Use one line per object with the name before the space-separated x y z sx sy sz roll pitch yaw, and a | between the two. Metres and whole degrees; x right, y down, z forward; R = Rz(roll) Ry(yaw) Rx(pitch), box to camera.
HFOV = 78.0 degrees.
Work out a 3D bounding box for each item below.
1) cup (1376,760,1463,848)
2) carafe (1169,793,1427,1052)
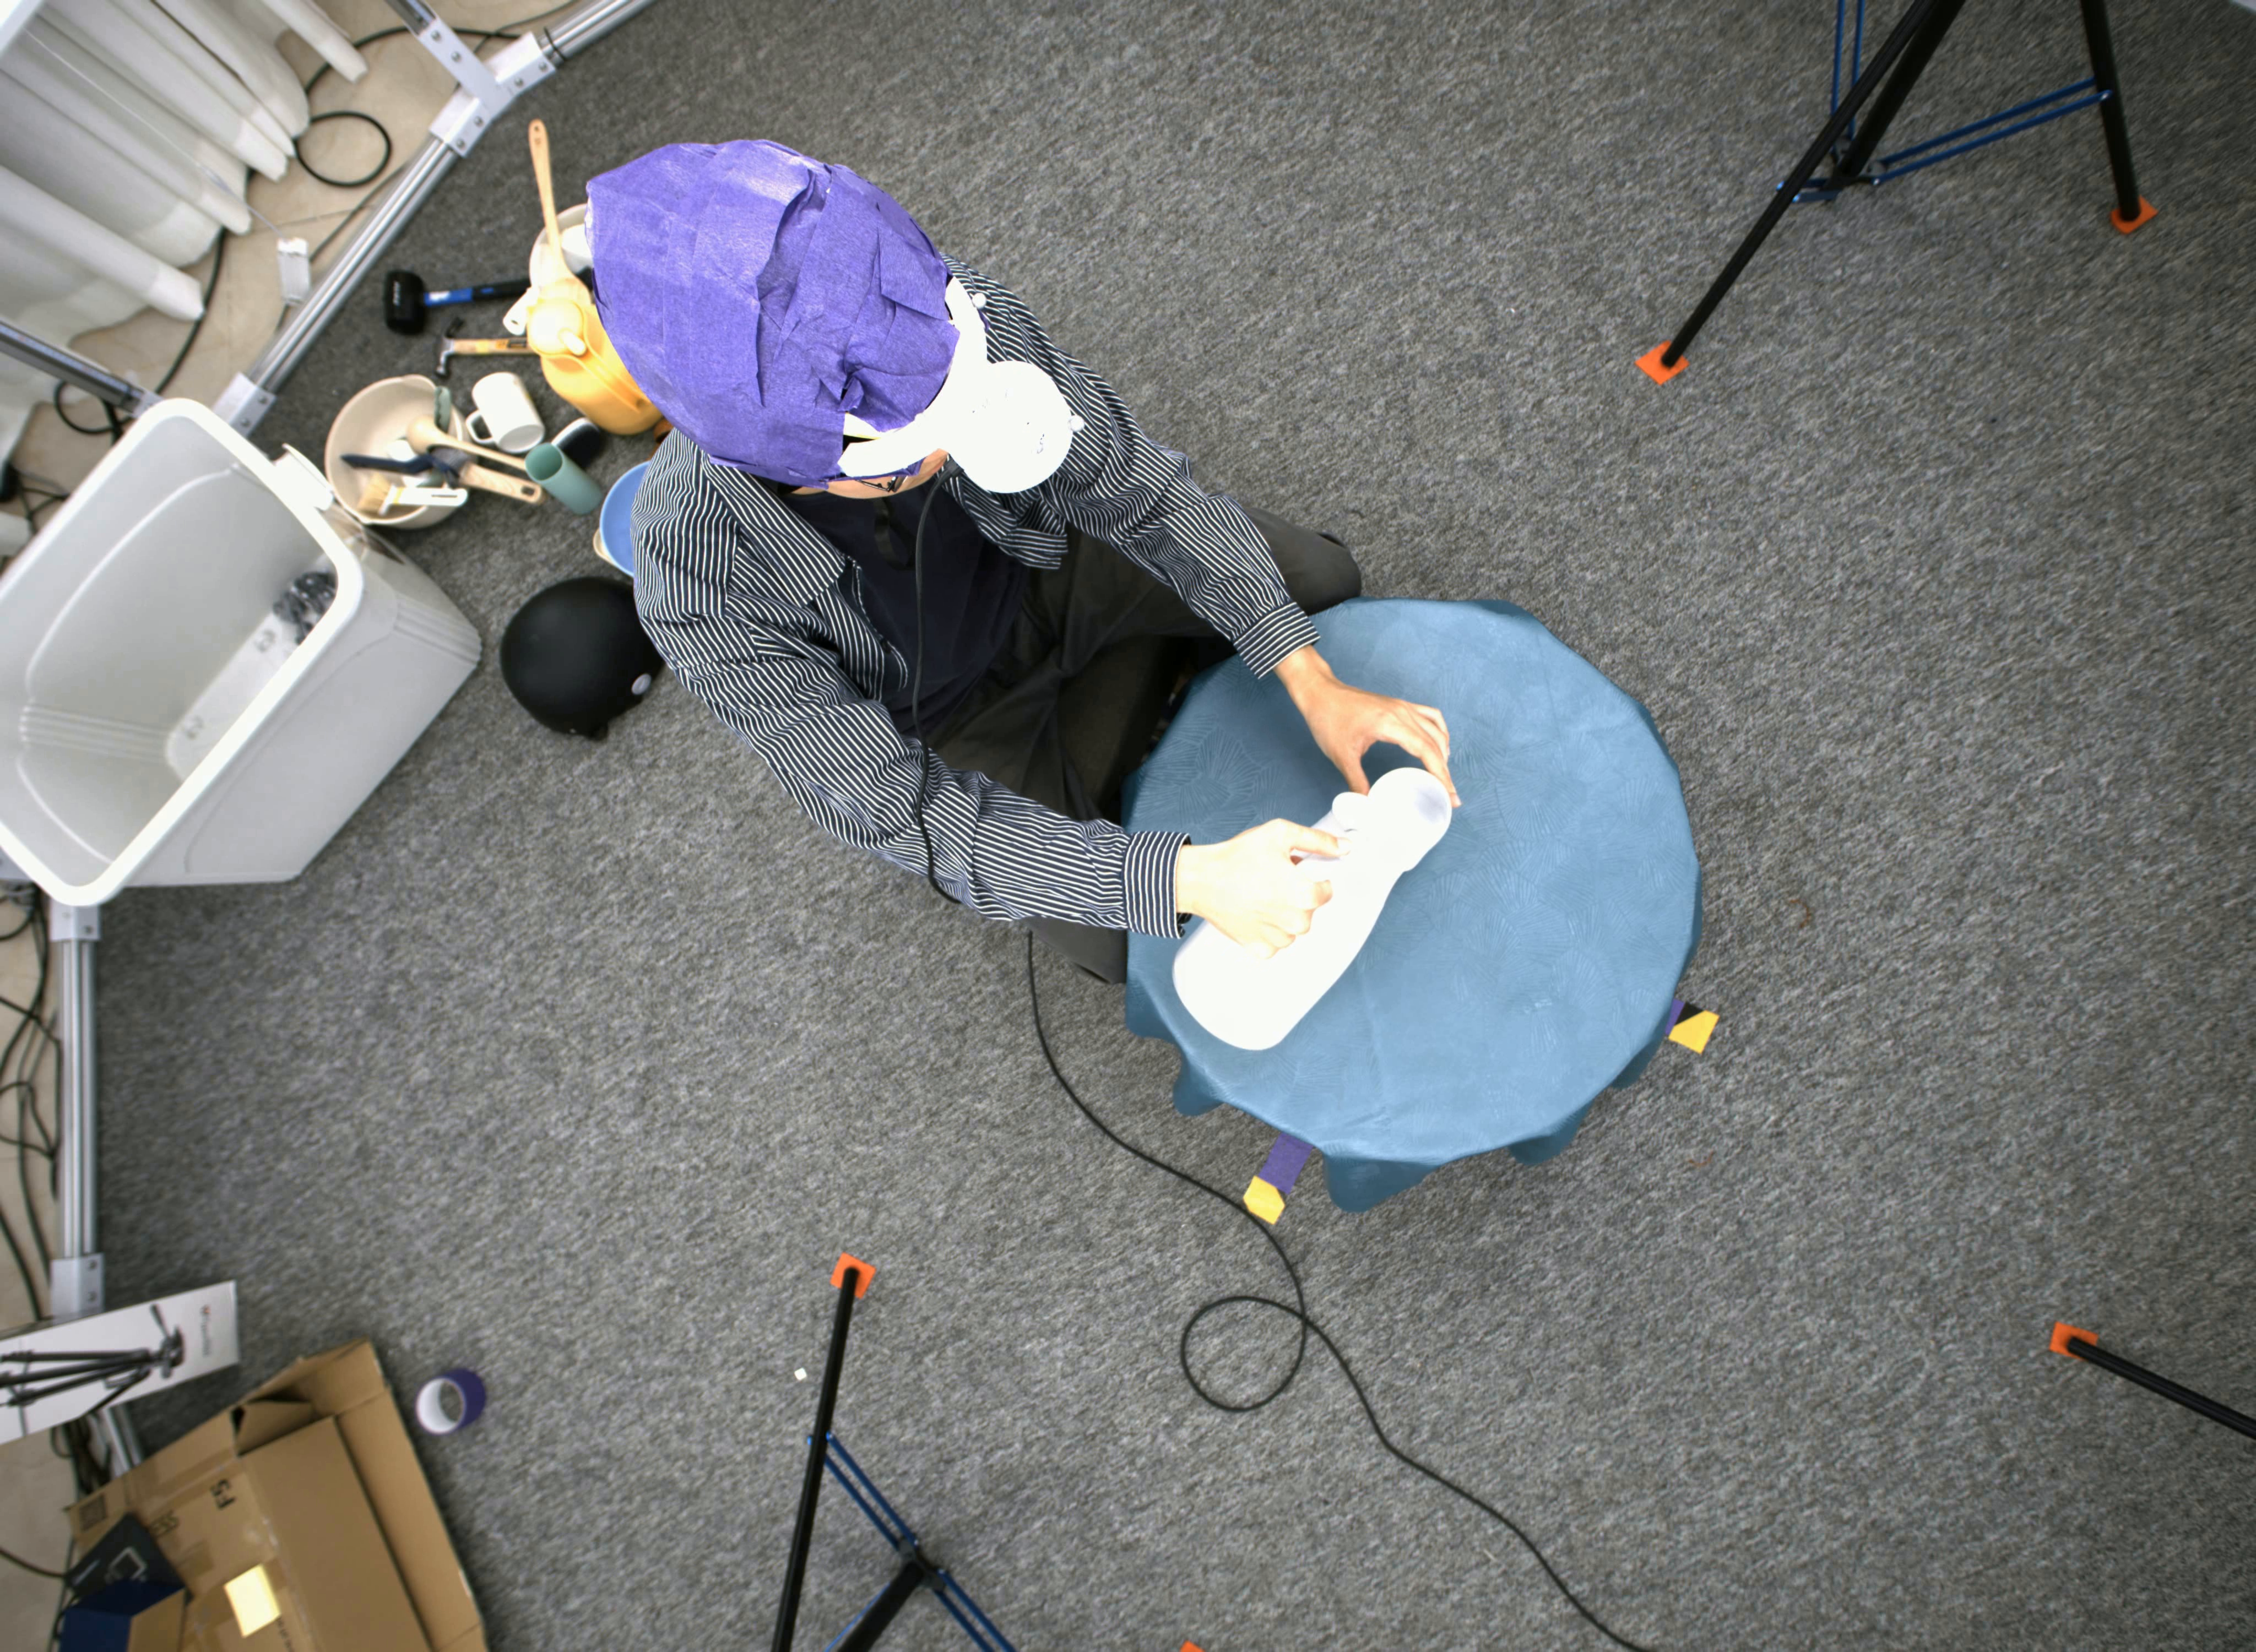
cup | 0.286 -0.019 1.347 0.082 0.125 0.081 -1 87 12
carafe | 0.151 0.086 1.243 0.132 0.165 0.254 48 124 12
